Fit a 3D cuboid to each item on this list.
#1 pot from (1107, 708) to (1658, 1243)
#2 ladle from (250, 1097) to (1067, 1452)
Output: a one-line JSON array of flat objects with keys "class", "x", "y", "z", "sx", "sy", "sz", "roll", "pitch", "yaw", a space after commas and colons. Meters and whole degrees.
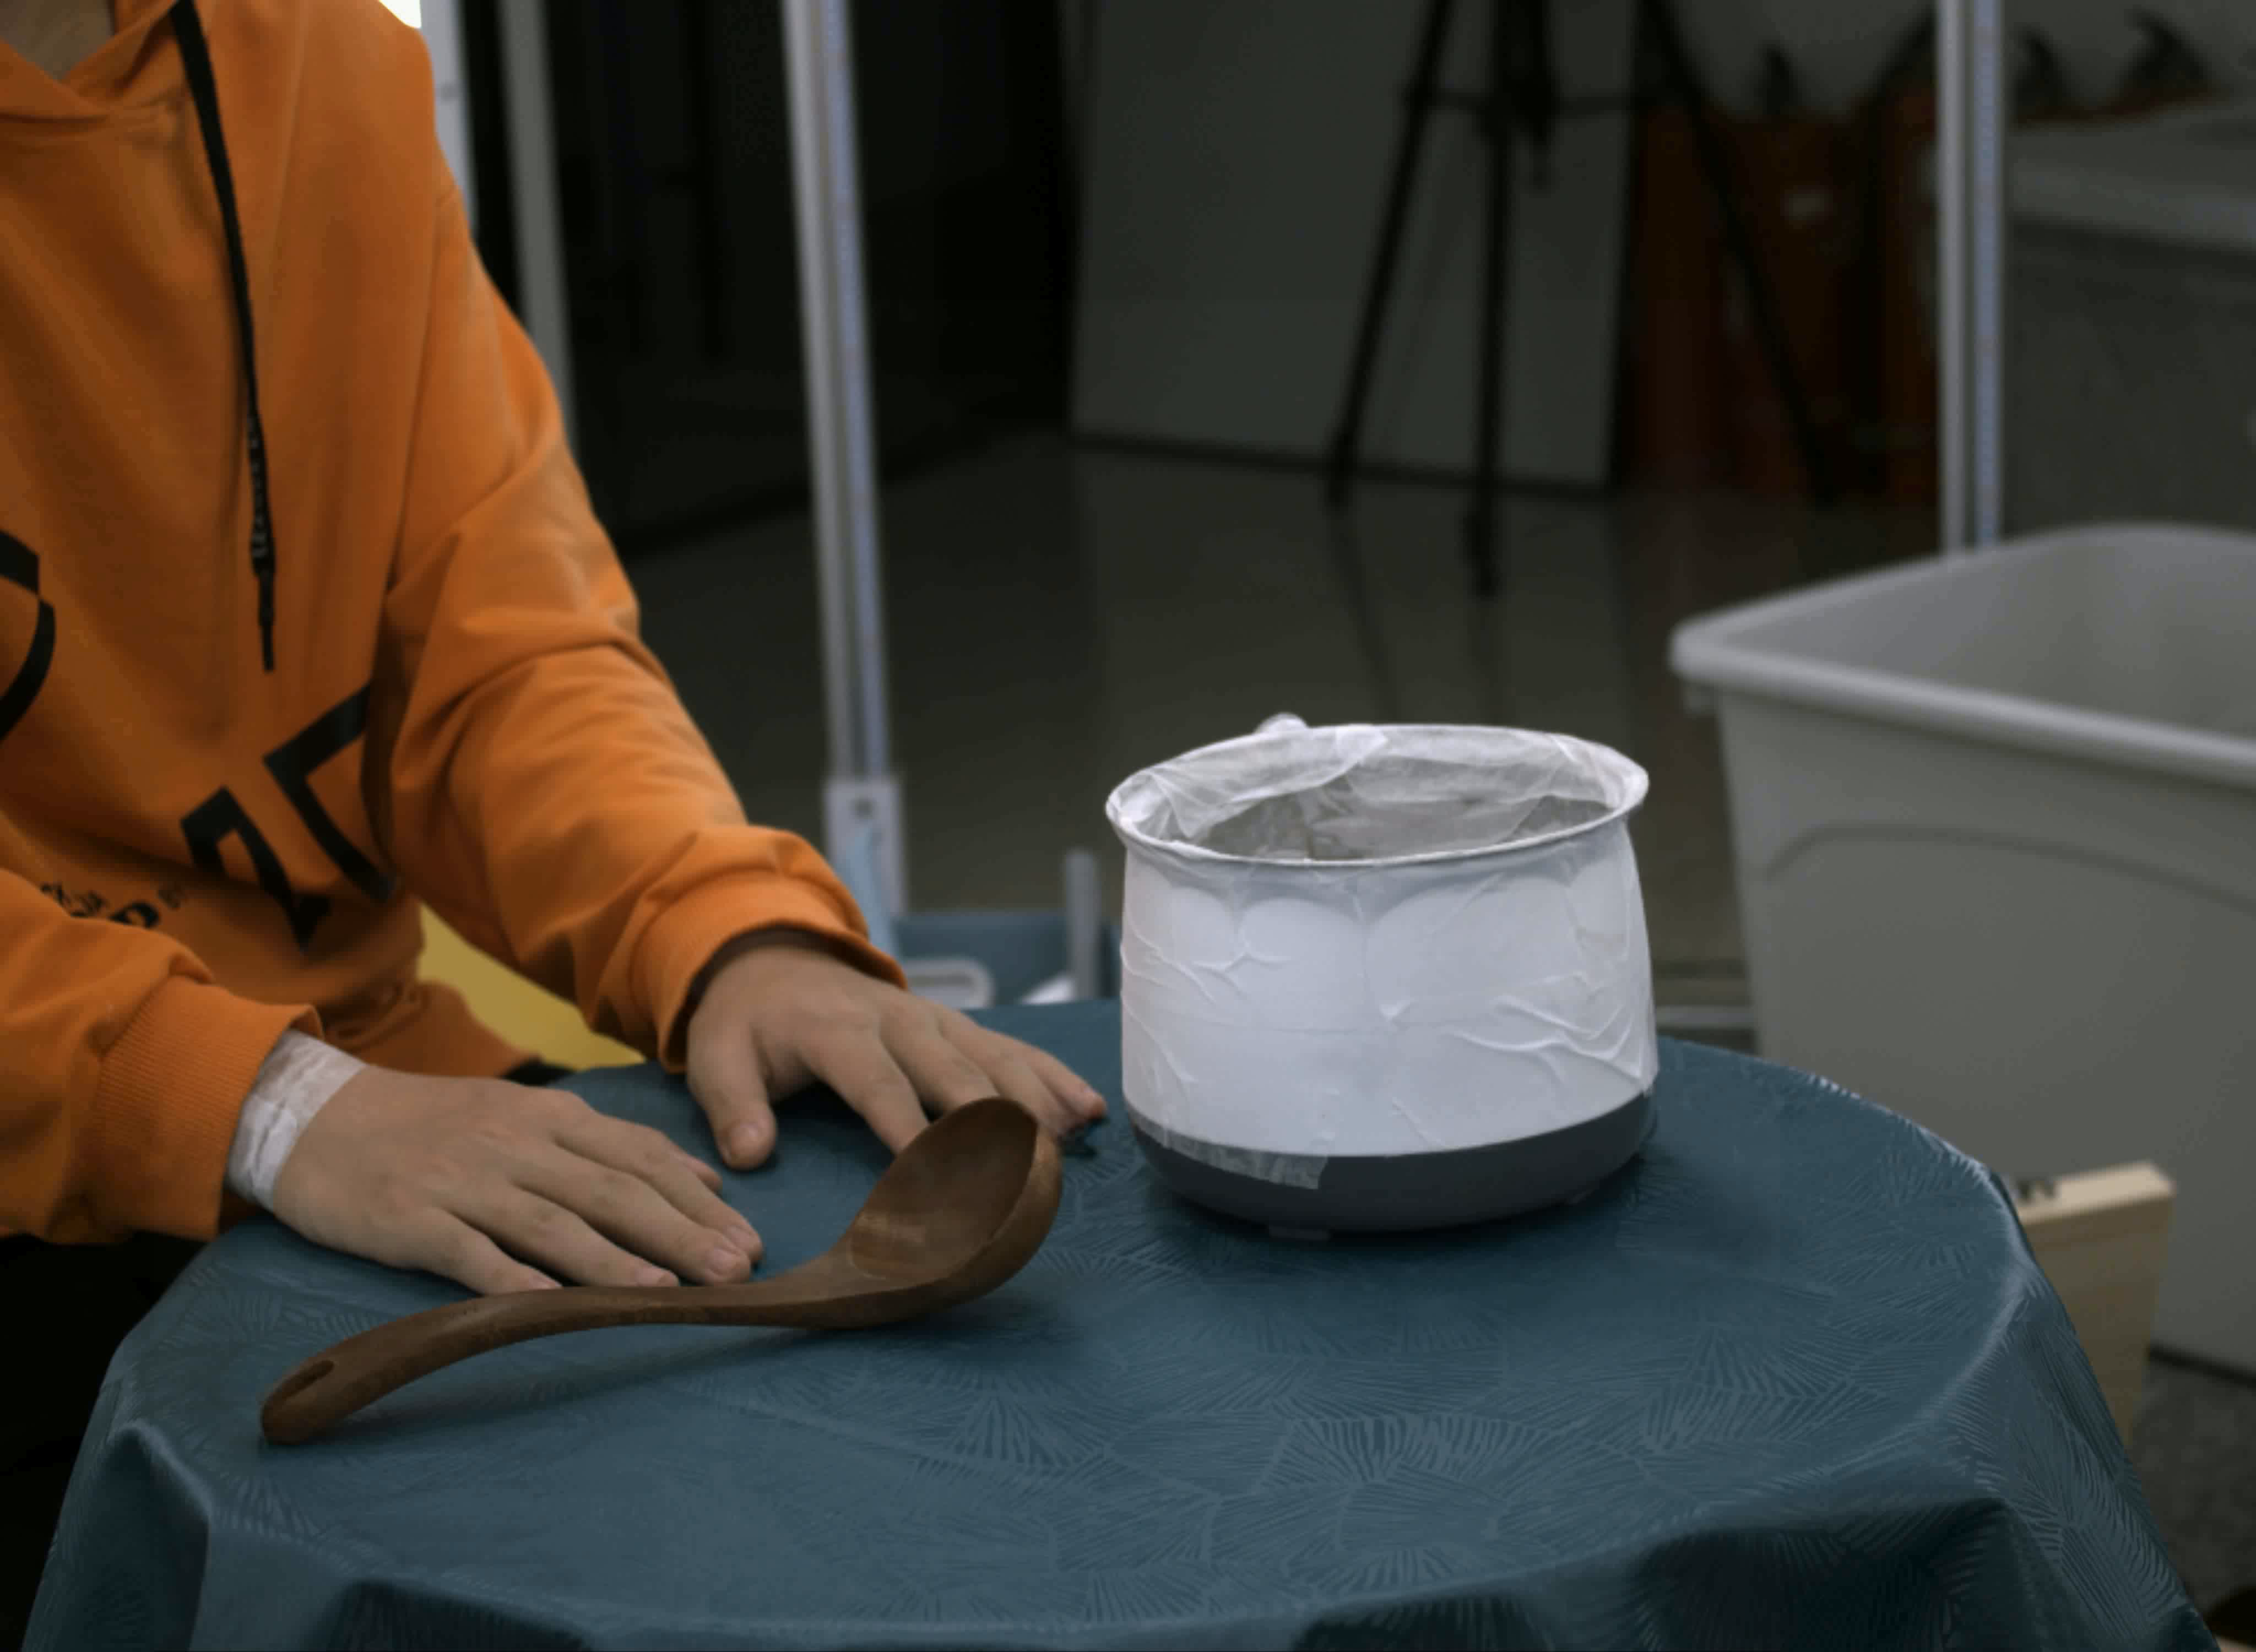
[{"class": "pot", "x": 0.075, "y": 0.043, "z": 1.777, "sx": 0.175, "sy": 0.138, "sz": 0.235, "roll": -7, "pitch": 14, "yaw": -16}, {"class": "ladle", "x": -0.140, "y": 0.134, "z": 1.629, "sx": 0.255, "sy": 0.066, "sz": 0.077, "roll": -9, "pitch": 15, "yaw": -20}]
